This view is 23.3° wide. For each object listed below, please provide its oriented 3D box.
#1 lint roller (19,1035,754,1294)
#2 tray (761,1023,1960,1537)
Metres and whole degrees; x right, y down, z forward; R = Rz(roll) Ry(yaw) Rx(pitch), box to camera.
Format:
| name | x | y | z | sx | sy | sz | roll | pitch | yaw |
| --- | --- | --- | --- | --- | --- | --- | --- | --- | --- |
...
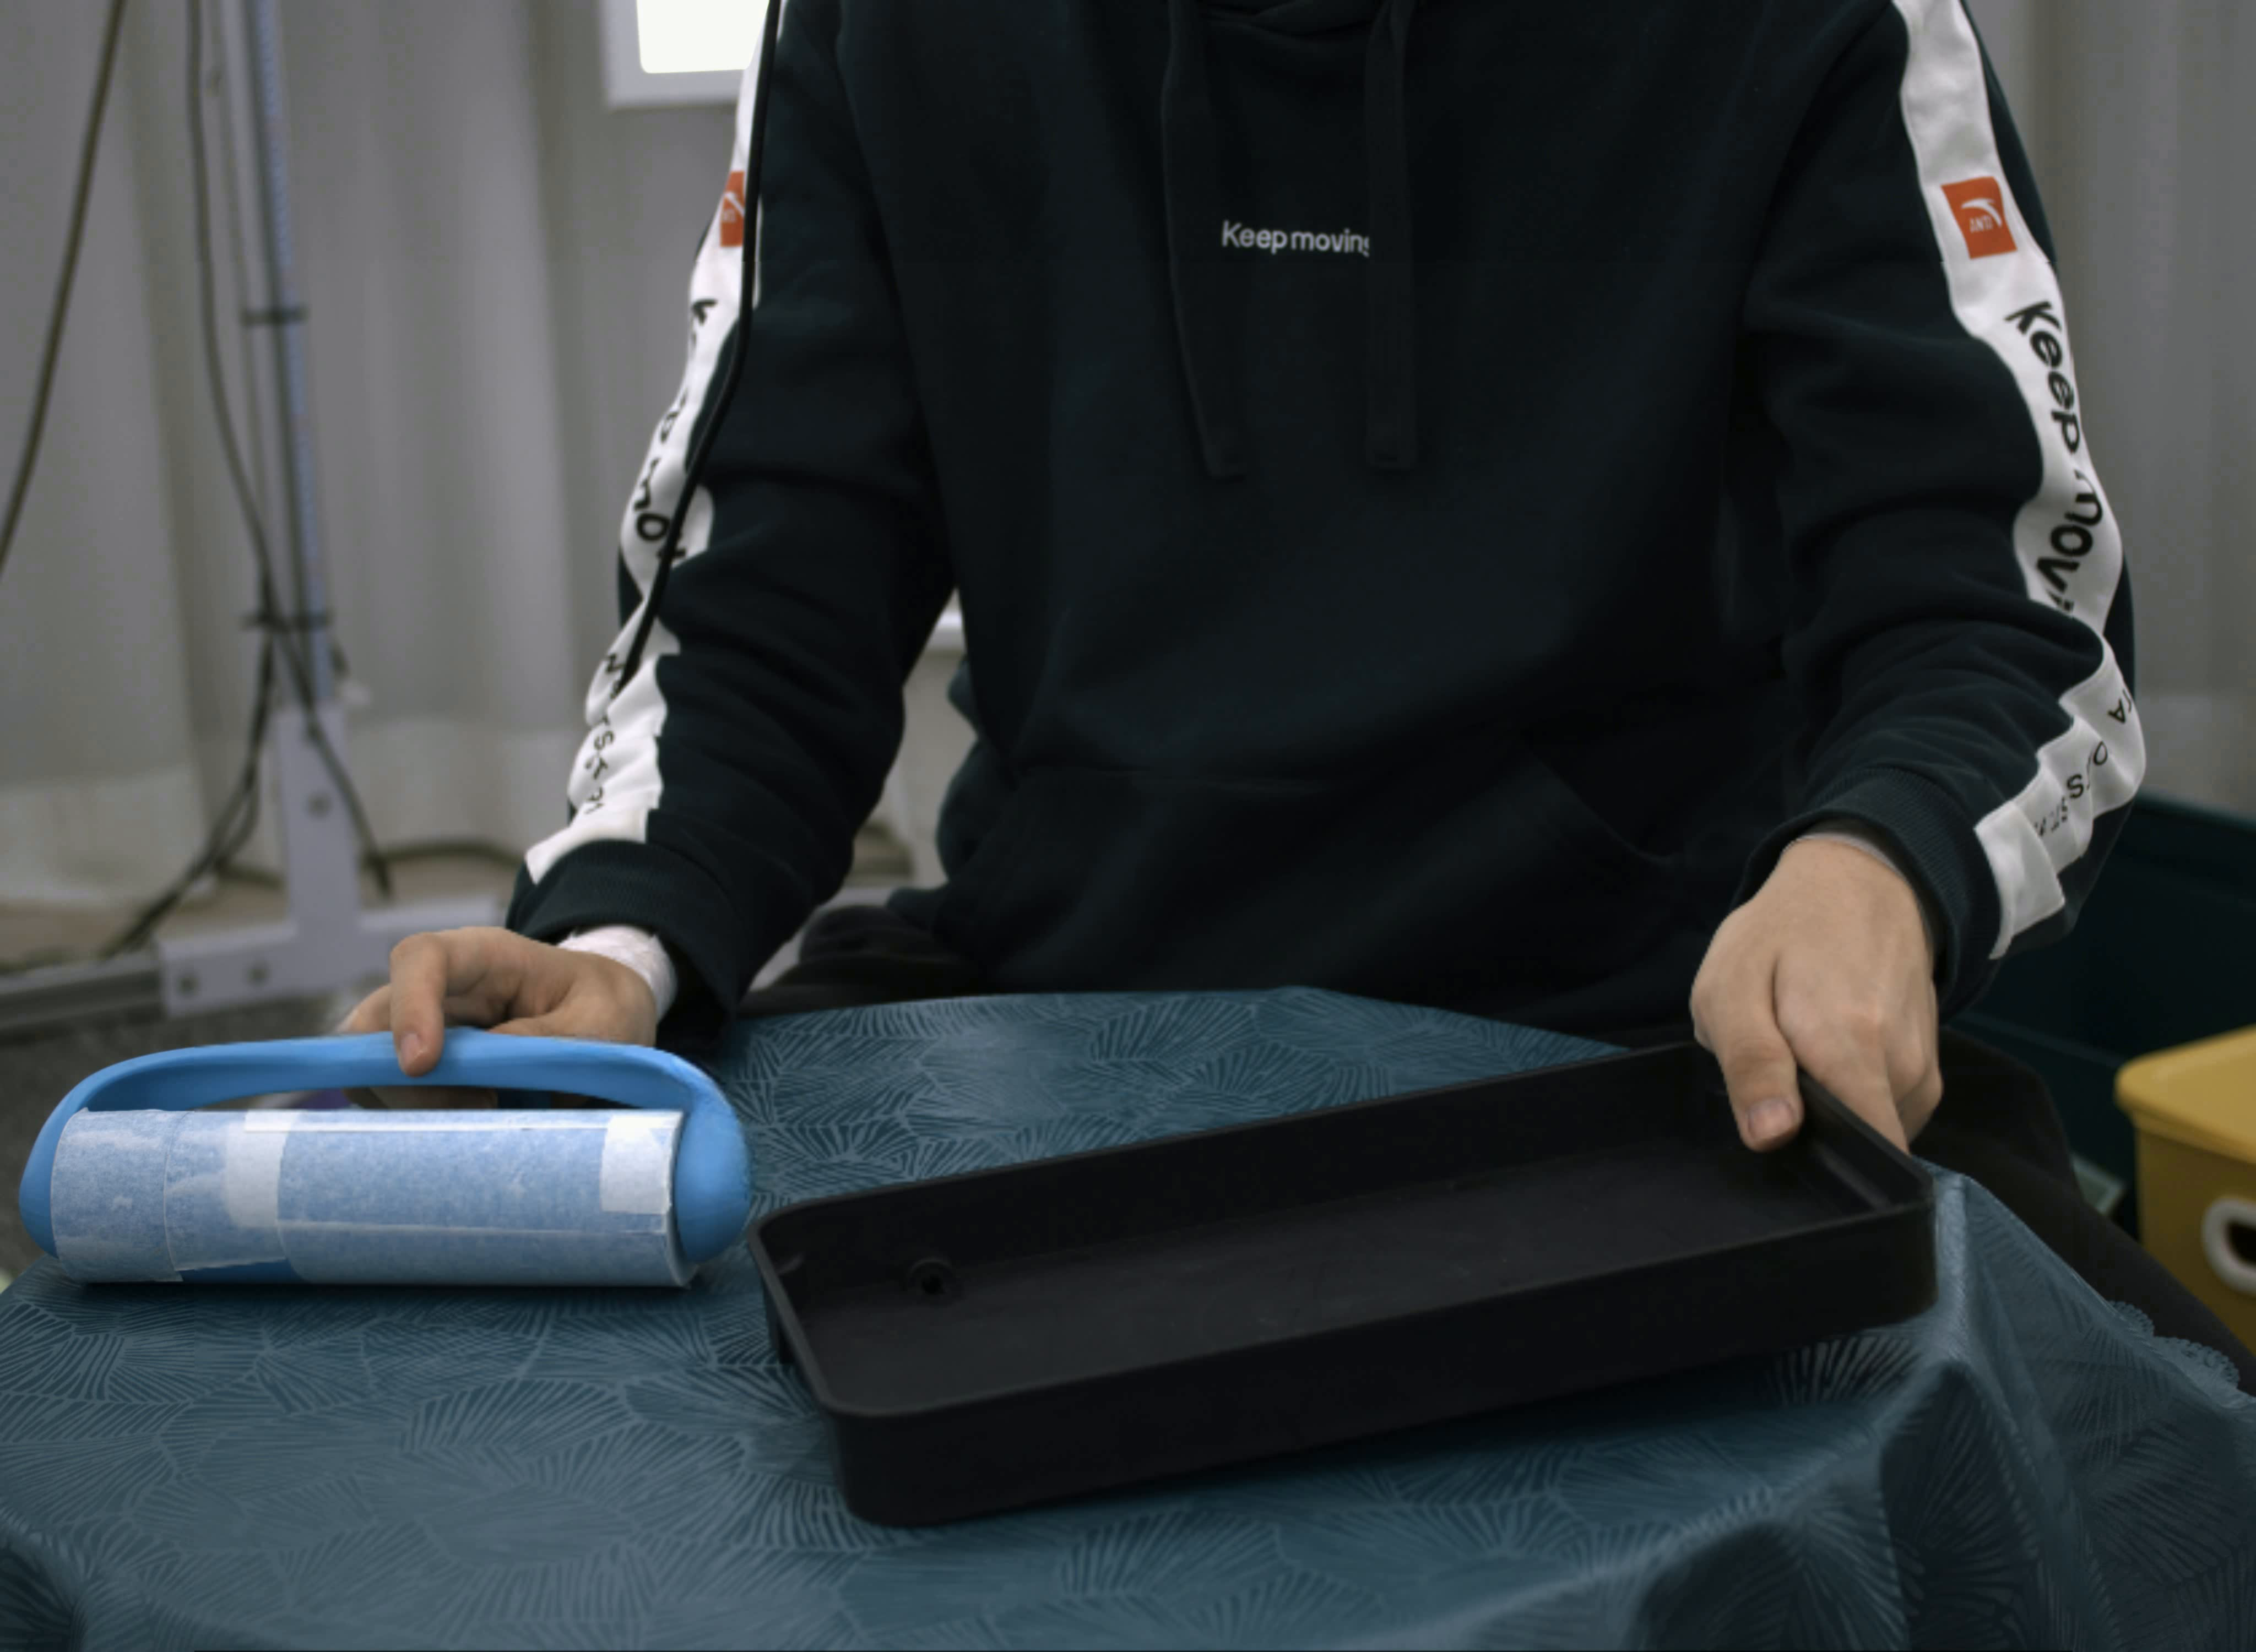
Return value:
| name | x | y | z | sx | sy | sz | roll | pitch | yaw |
| --- | --- | --- | --- | --- | --- | --- | --- | --- | --- |
| lint roller | -0.219 | 0.096 | 1.718 | 0.228 | 0.067 | 0.181 | -3 | 16 | 8 |
| tray | 0.064 | 0.125 | 1.556 | 0.317 | 0.037 | 0.185 | -12 | 15 | -11 |
